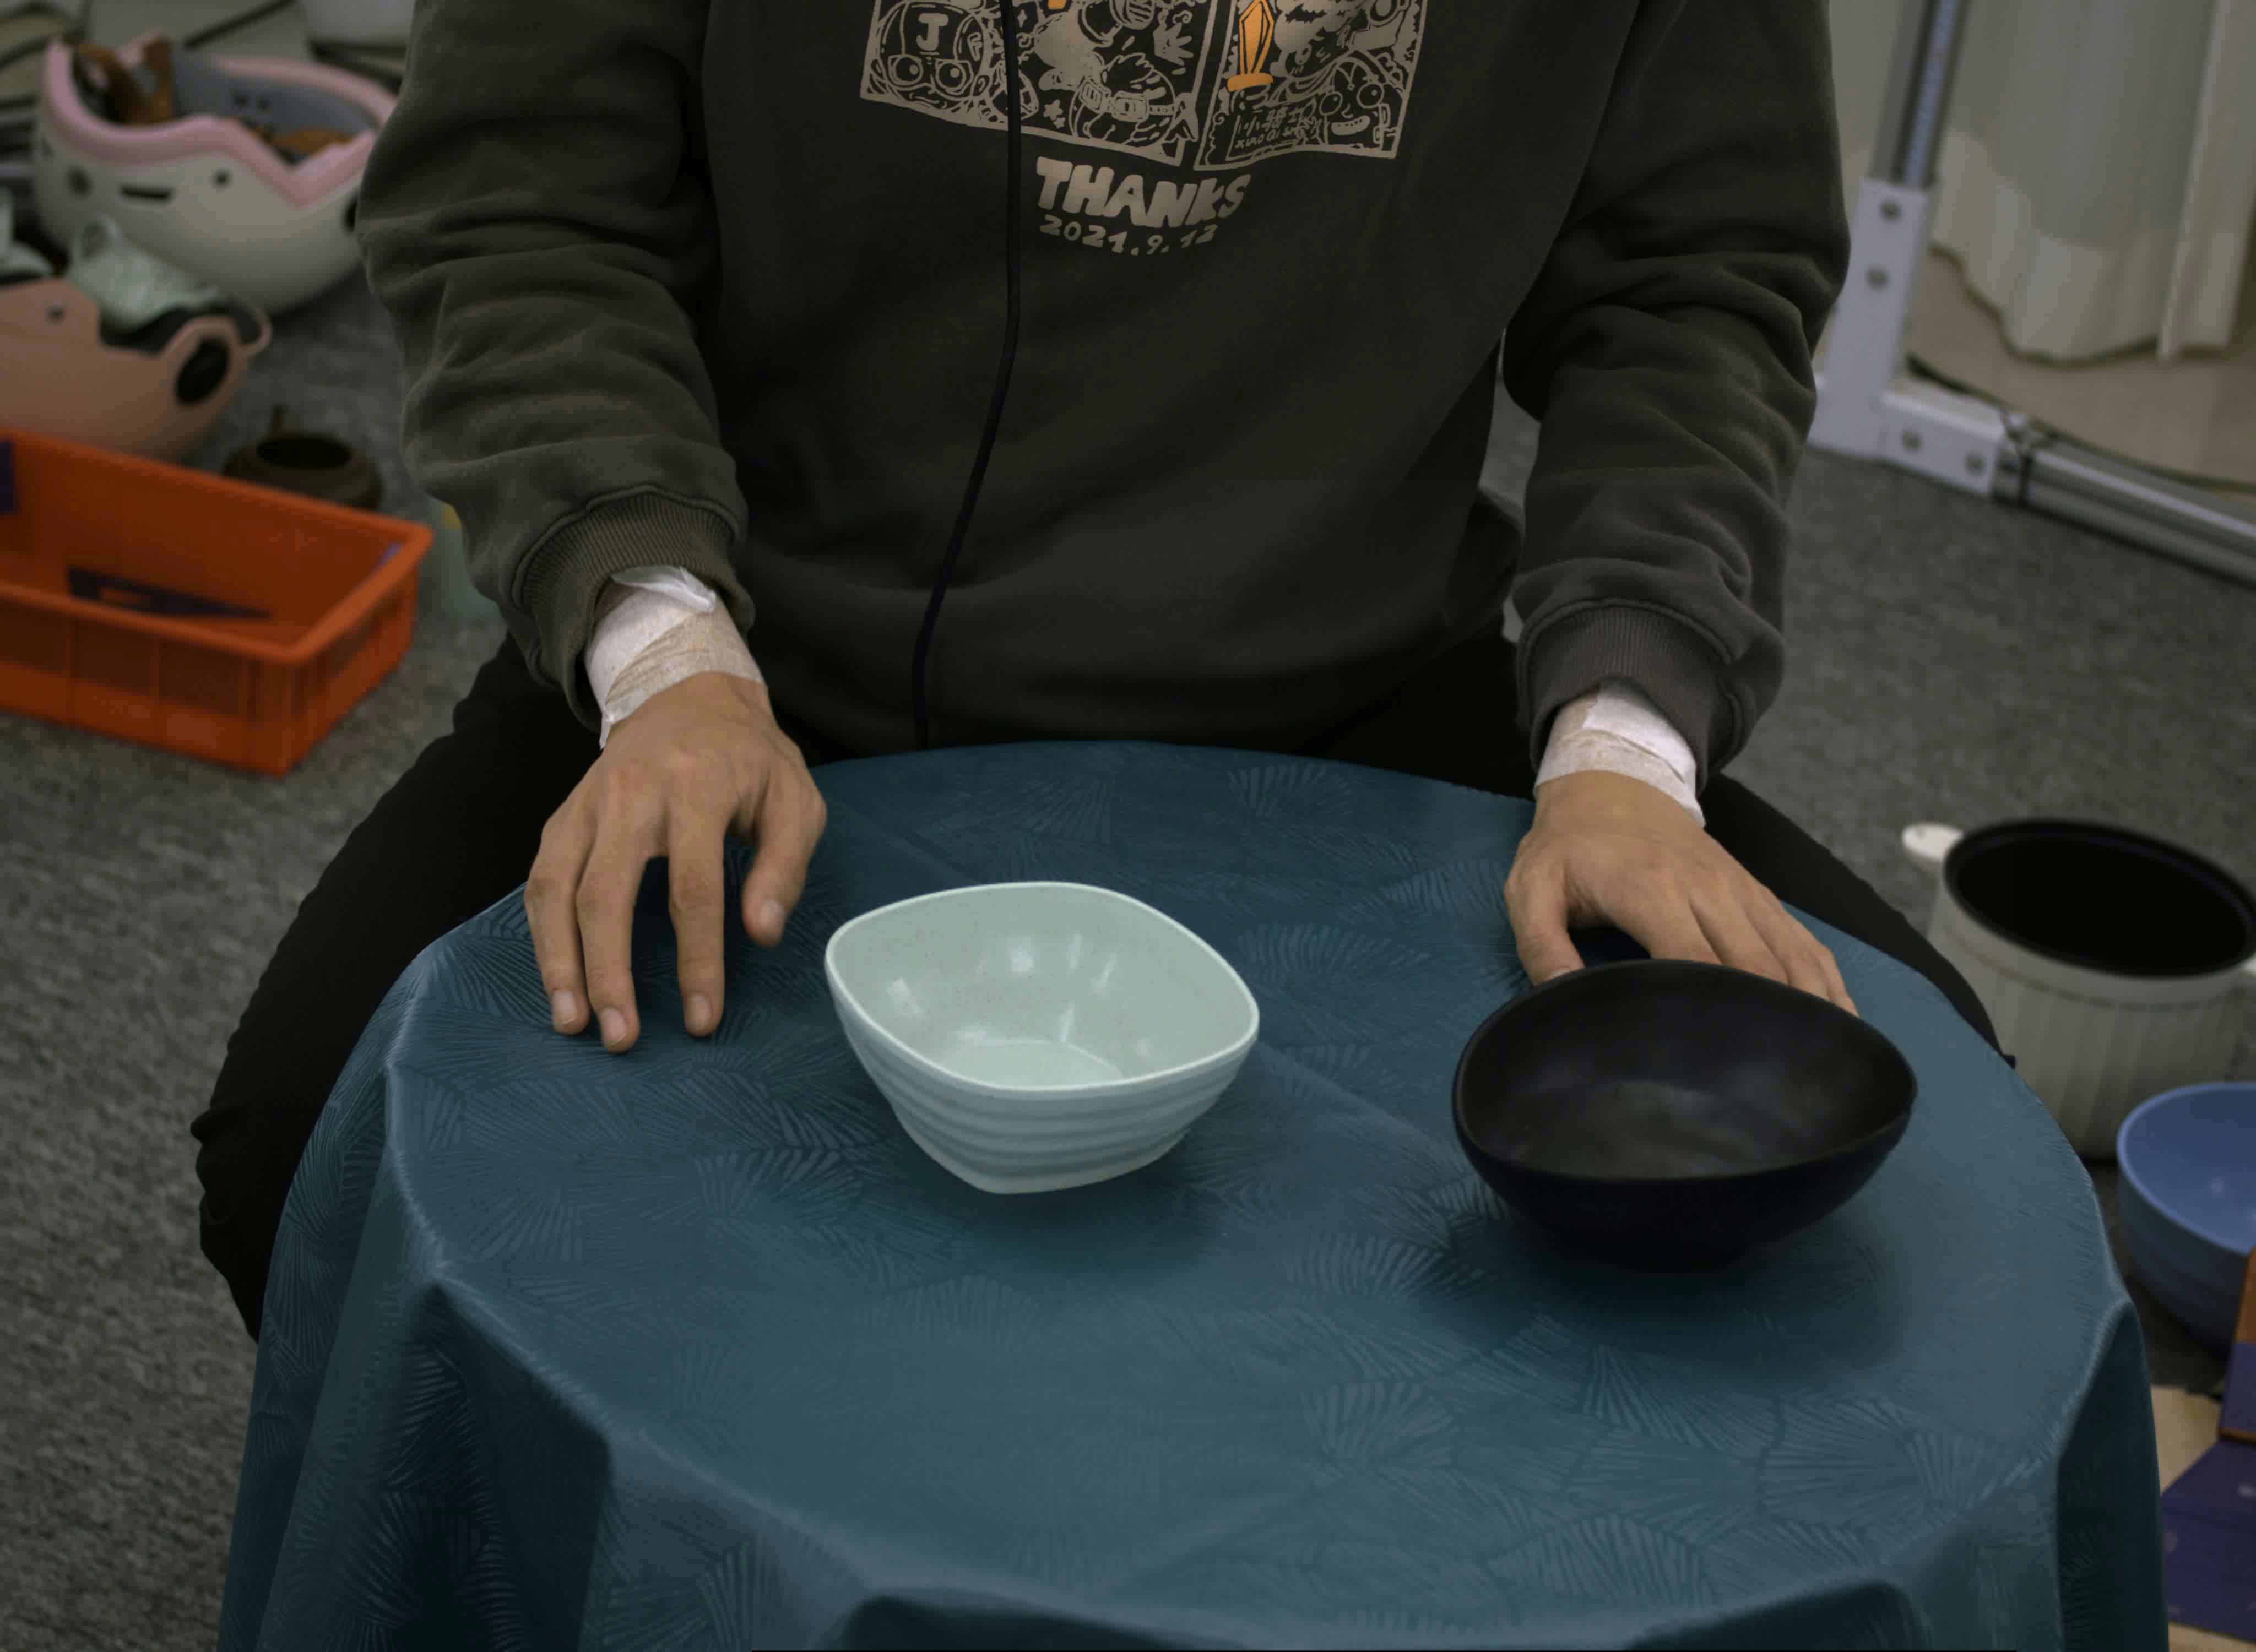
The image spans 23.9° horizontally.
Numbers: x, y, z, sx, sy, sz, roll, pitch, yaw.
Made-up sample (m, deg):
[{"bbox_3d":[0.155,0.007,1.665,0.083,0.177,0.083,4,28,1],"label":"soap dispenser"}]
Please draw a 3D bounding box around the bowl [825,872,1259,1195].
[{"bbox_3d":[-0.033,0.077,1.824,0.151,0.058,0.152,6,29,-3],"label":"bowl"}]

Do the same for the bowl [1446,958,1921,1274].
[{"bbox_3d":[0.186,0.108,1.806,0.169,0.066,0.138,-12,32,-30],"label":"bowl"}]
